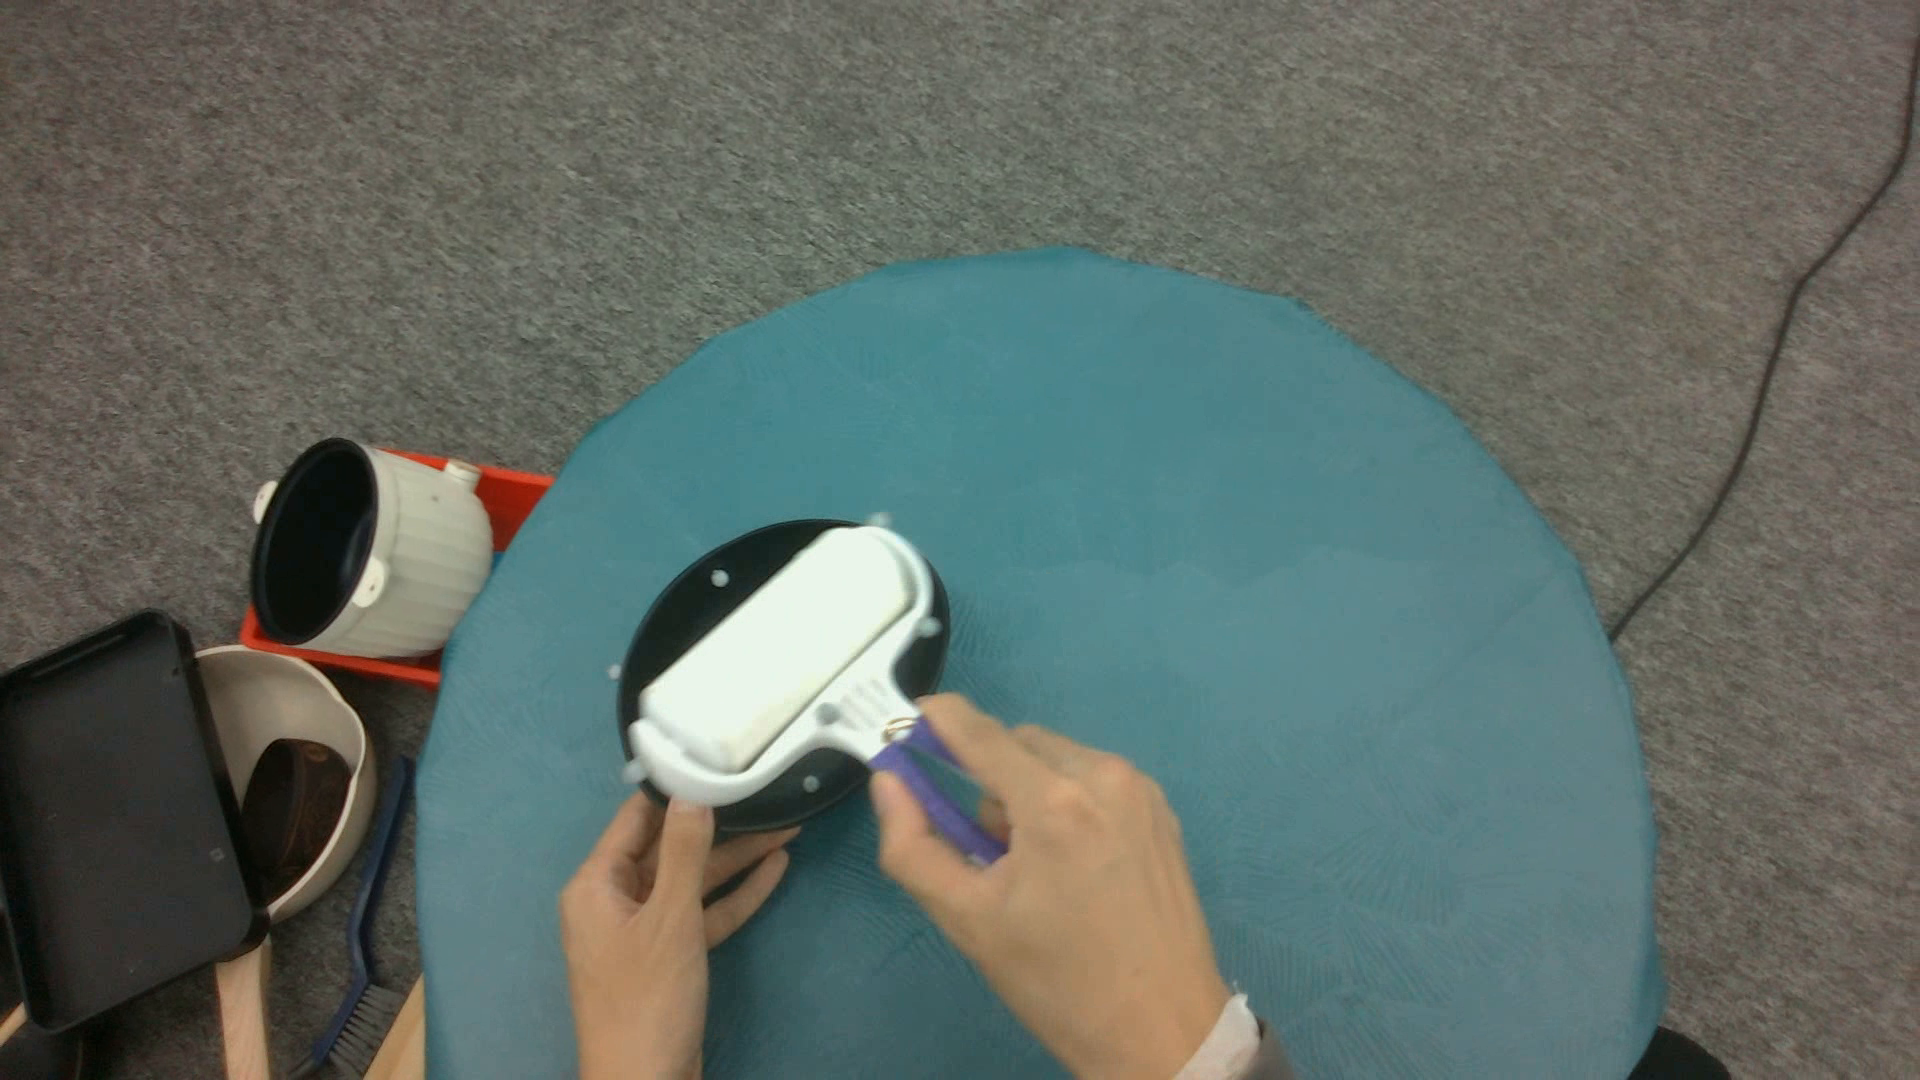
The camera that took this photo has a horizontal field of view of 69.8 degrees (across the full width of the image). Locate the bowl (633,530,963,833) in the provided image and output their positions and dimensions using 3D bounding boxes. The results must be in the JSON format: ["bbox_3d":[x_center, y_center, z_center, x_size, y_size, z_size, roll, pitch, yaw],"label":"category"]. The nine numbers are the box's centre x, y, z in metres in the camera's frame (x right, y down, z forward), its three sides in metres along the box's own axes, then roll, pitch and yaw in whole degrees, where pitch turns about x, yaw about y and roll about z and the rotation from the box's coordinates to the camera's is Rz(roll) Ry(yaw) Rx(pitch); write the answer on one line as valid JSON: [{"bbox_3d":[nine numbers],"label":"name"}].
[{"bbox_3d":[-0.076,0.071,0.678,0.171,0.066,0.137,-43,73,-16],"label":"bowl"}]

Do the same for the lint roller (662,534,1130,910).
[{"bbox_3d":[-0.012,0.077,0.523,0.181,0.050,0.133,32,52,23],"label":"lint roller"}]
